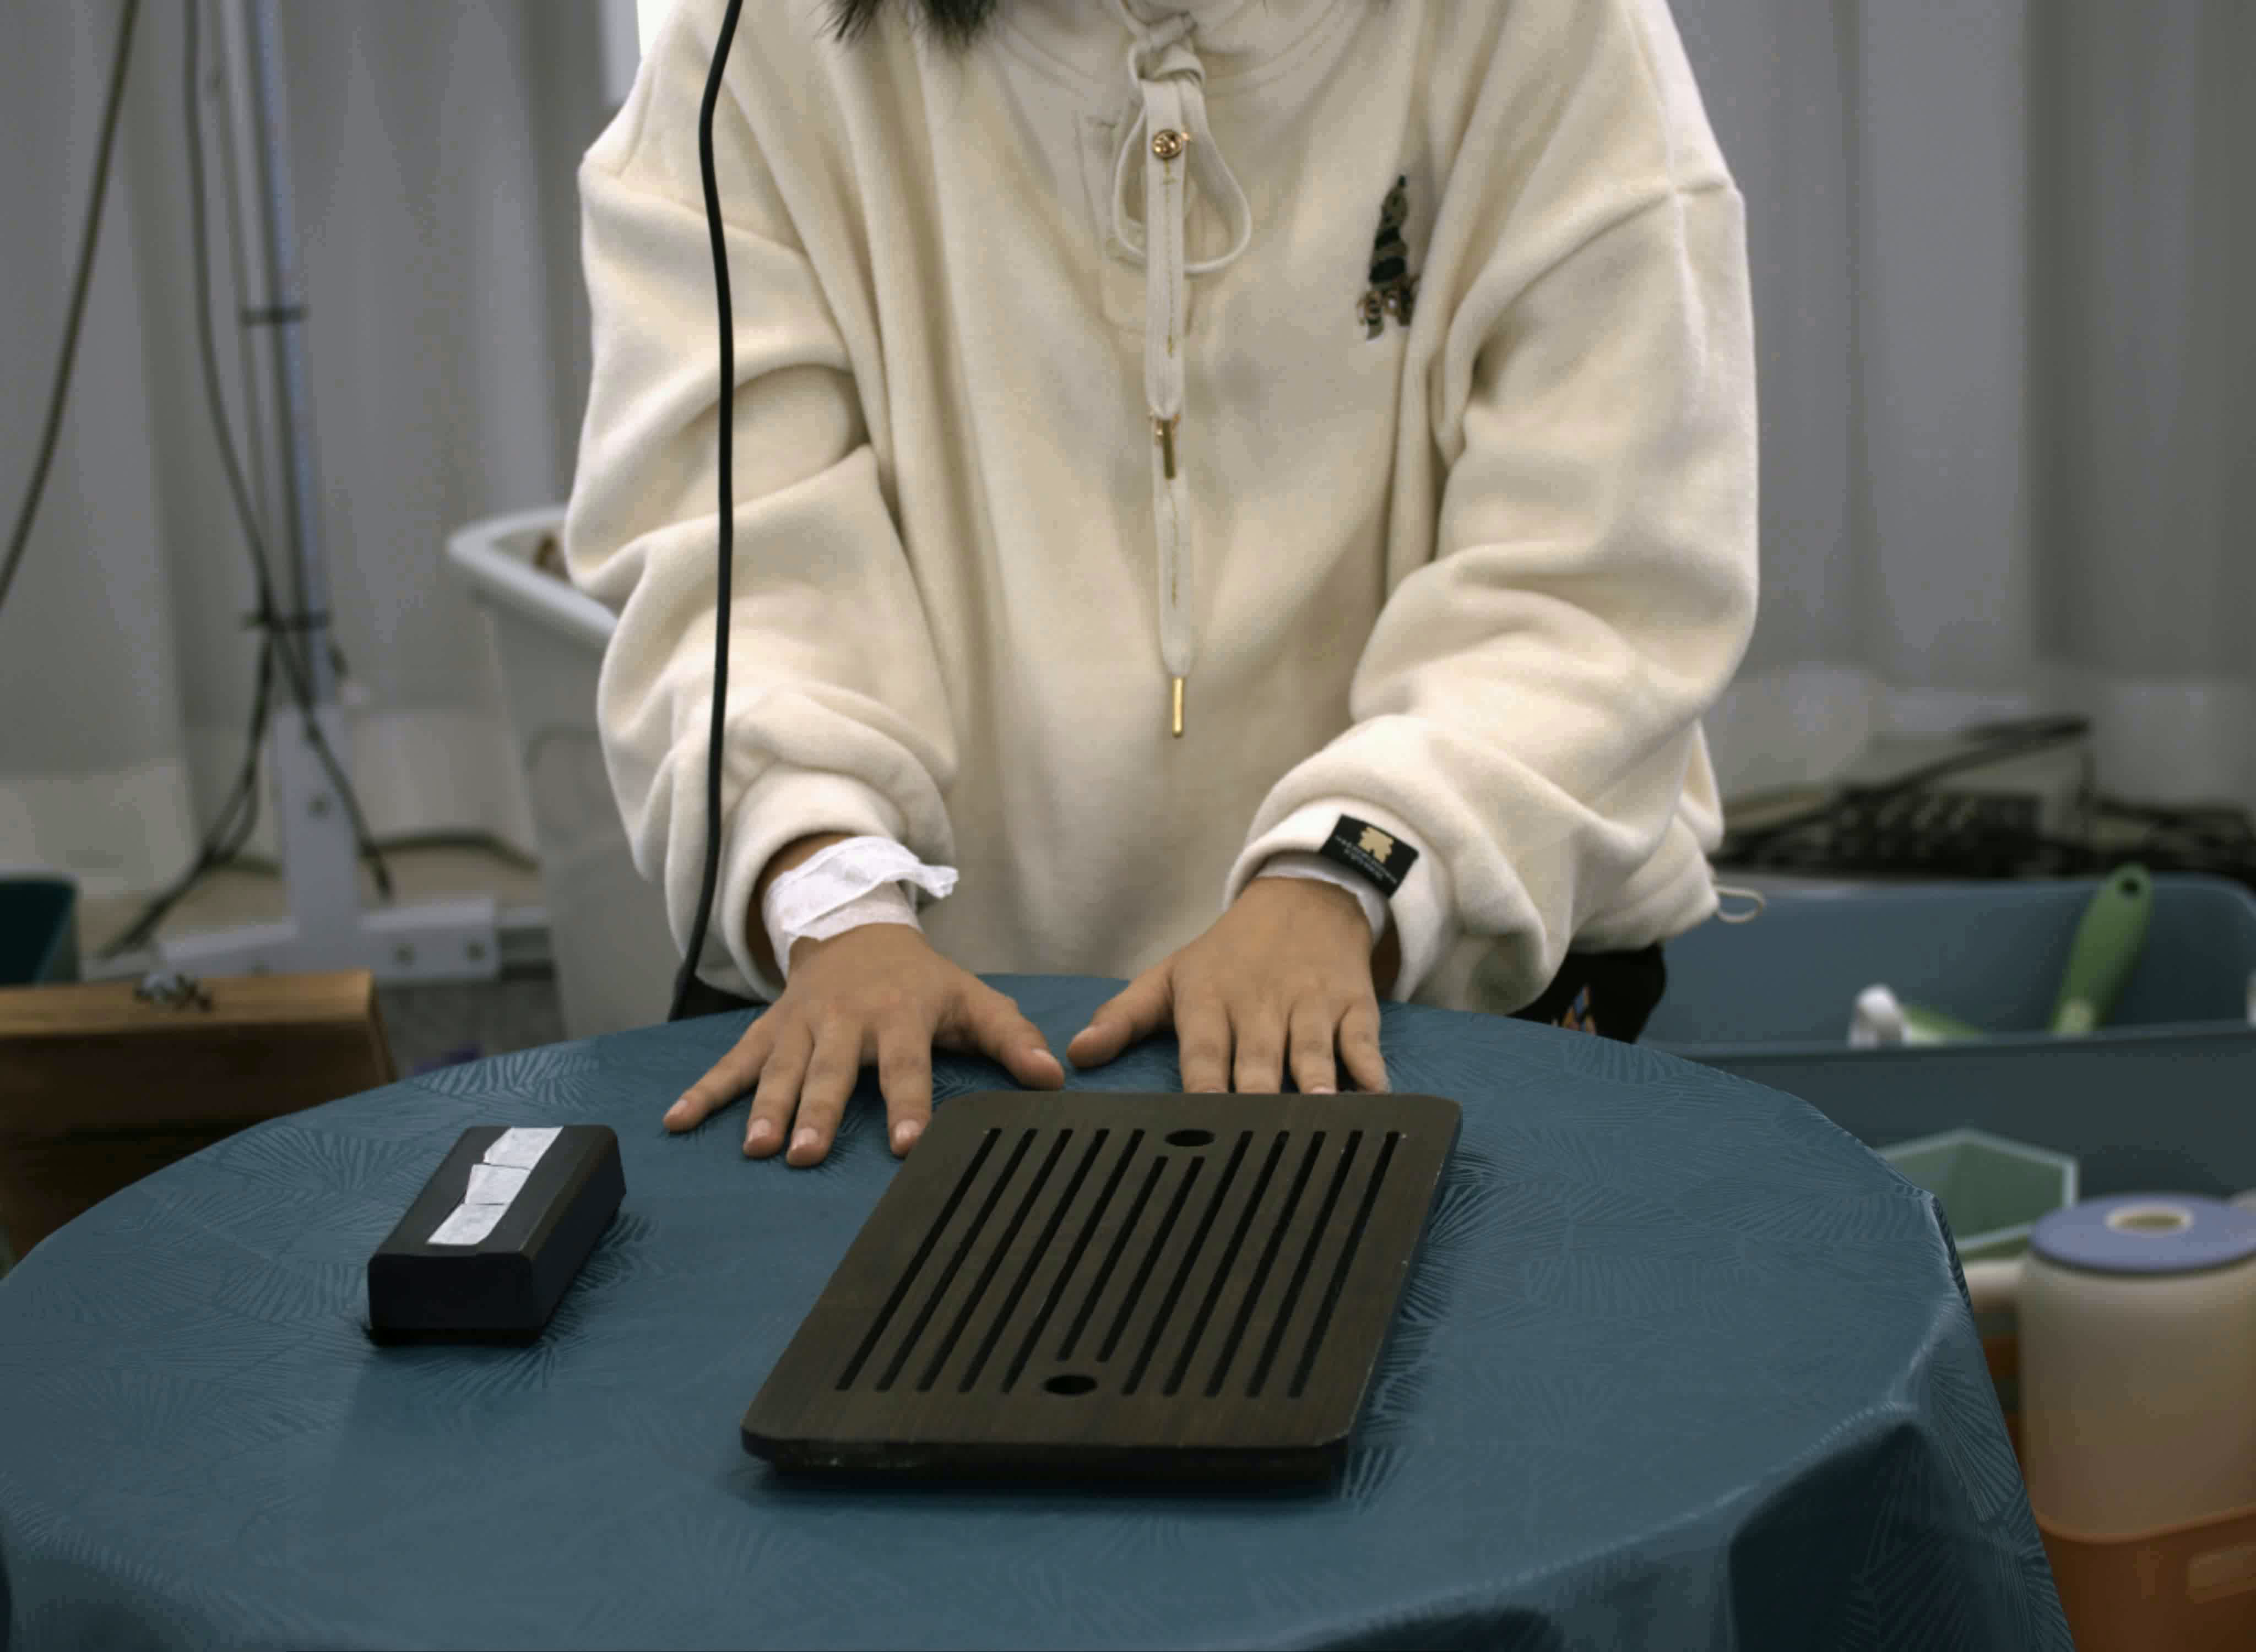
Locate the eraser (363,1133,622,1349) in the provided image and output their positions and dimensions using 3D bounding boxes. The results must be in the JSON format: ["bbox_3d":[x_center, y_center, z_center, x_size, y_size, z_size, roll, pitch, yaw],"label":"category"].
[{"bbox_3d":[-0.191,0.125,1.661,0.053,0.030,0.126,1,14,6],"label":"eraser"}]

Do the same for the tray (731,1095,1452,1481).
[{"bbox_3d":[-0.003,0.133,1.609,0.170,0.018,0.307,0,15,10],"label":"tray"}]
